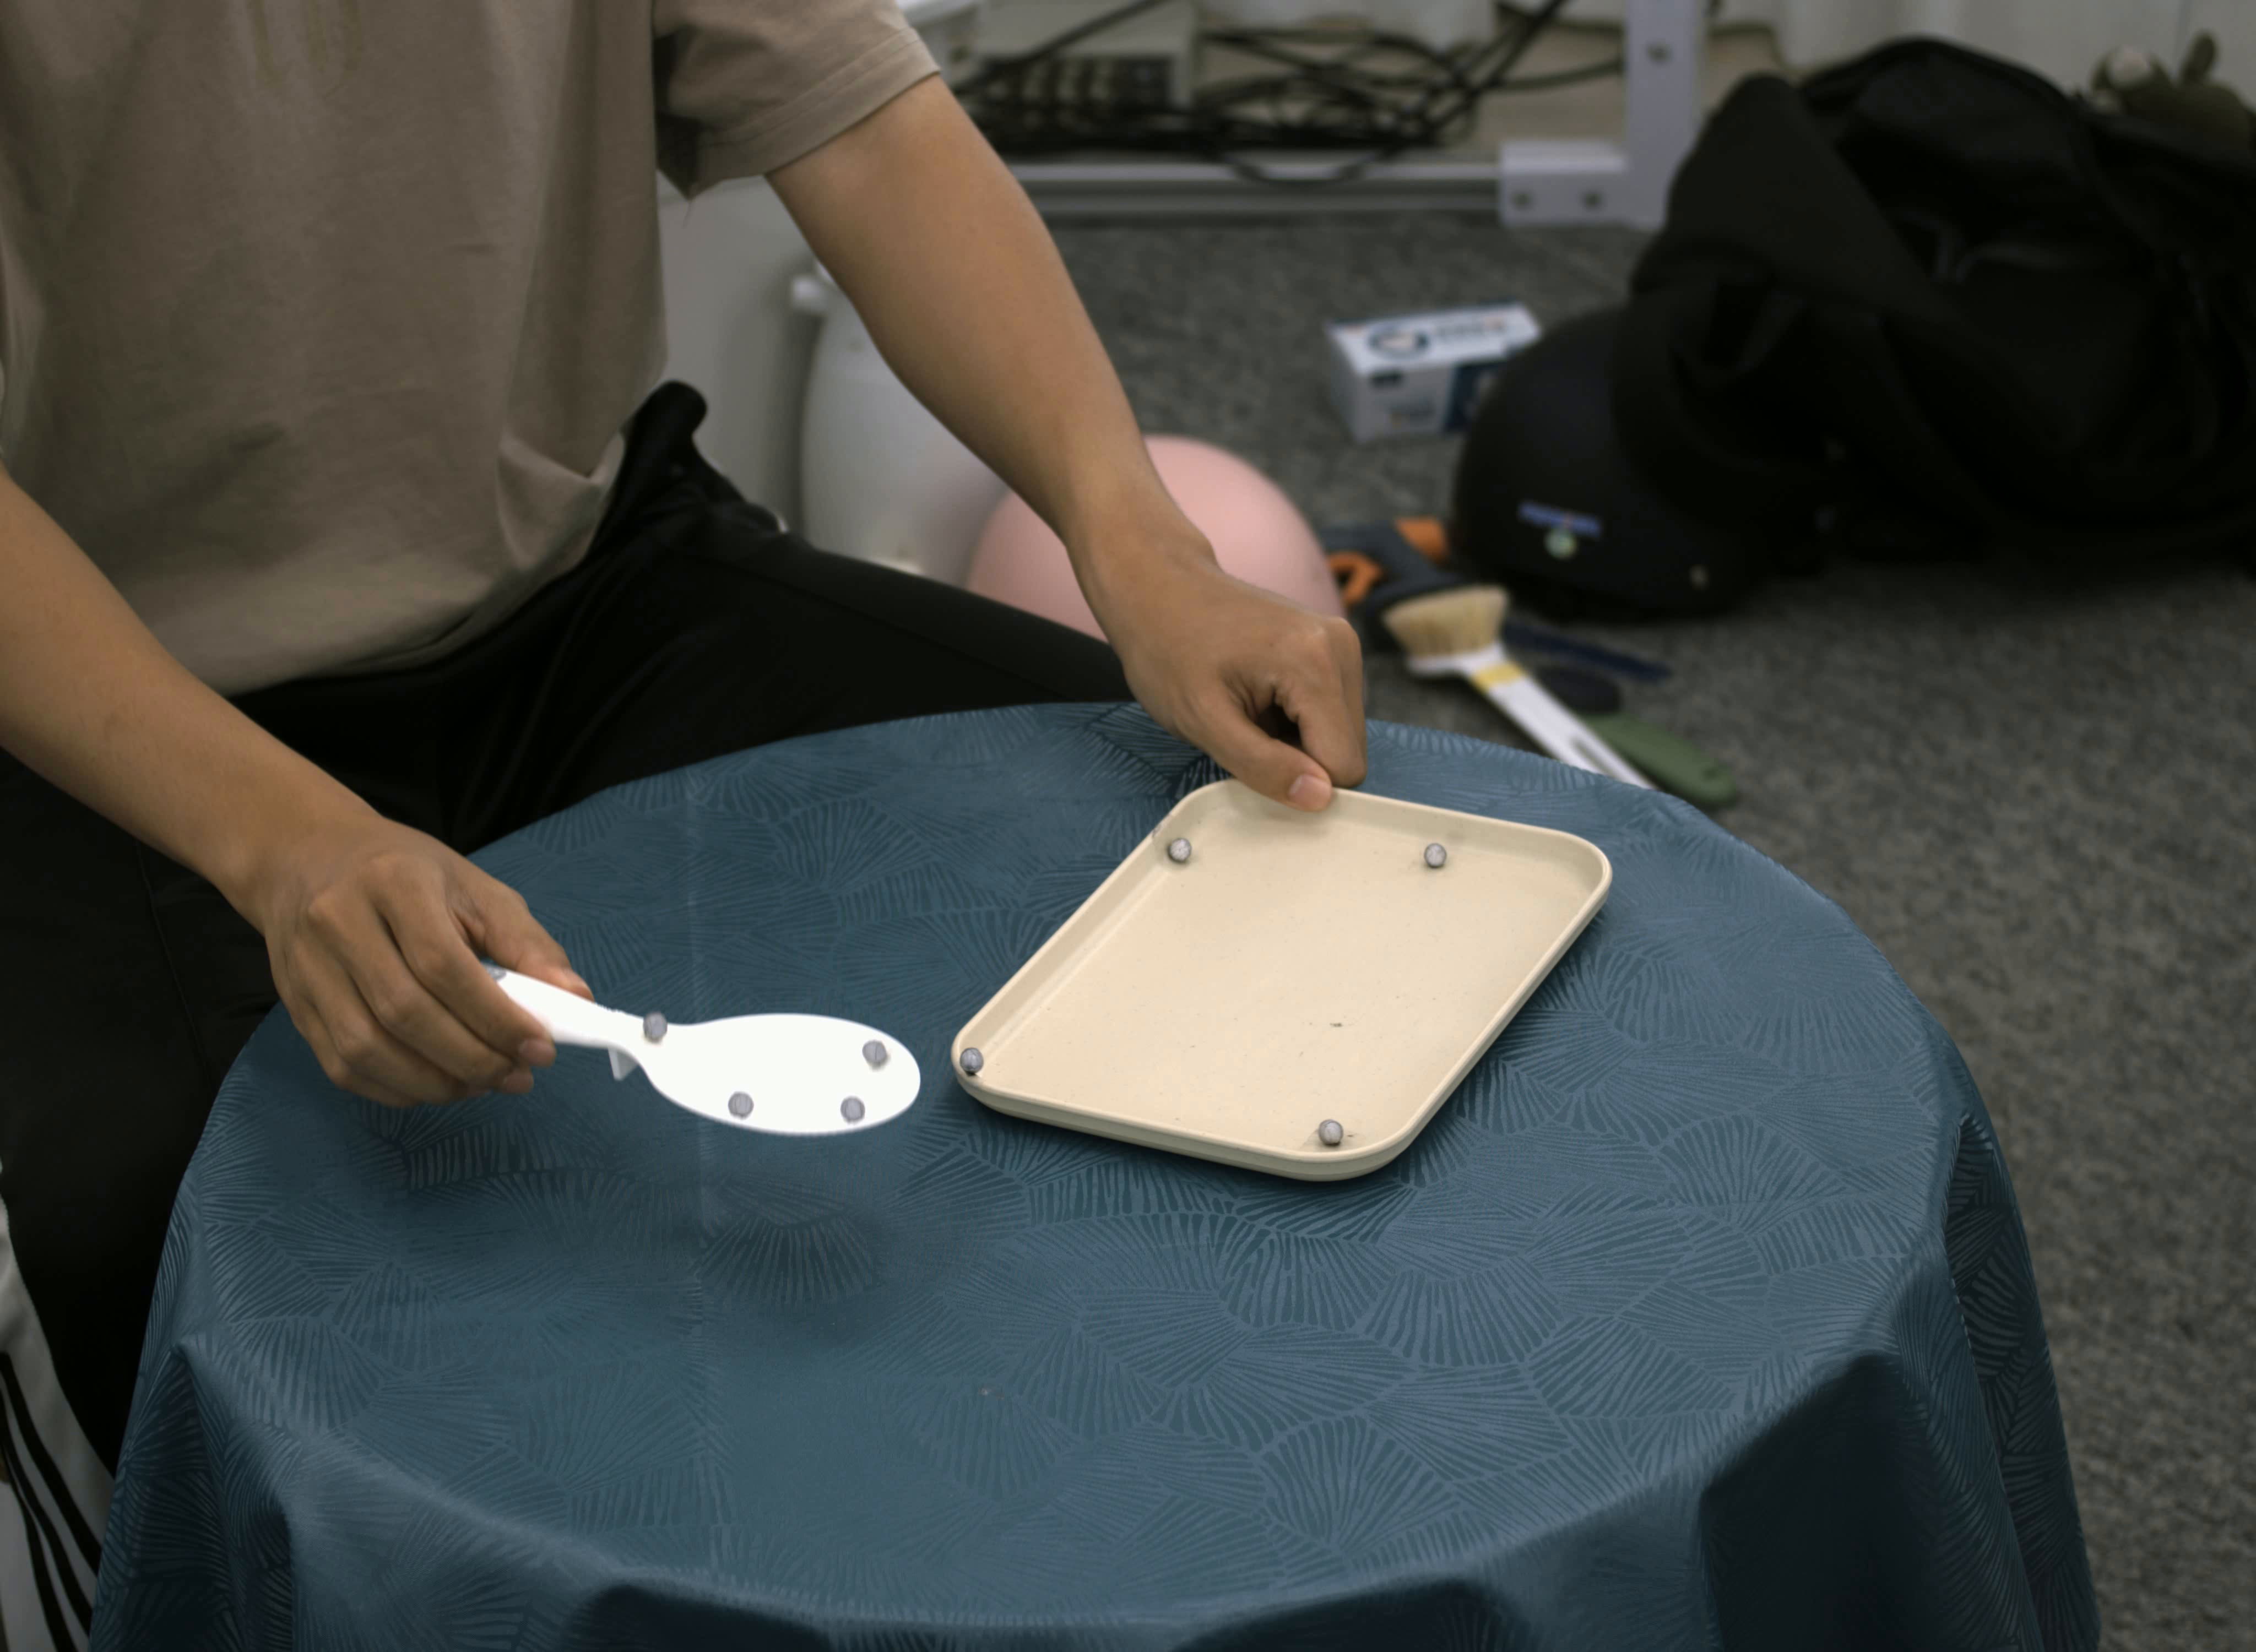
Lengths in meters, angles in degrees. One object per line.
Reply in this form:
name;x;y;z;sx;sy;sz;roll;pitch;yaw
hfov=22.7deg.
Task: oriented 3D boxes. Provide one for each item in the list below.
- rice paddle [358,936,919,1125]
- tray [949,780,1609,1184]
rice paddle;-0.160;0.067;1.841;0.204;0.029;0.070;10;31;26
tray;0.056;0.053;1.969;0.170;0.017;0.244;12;31;23
